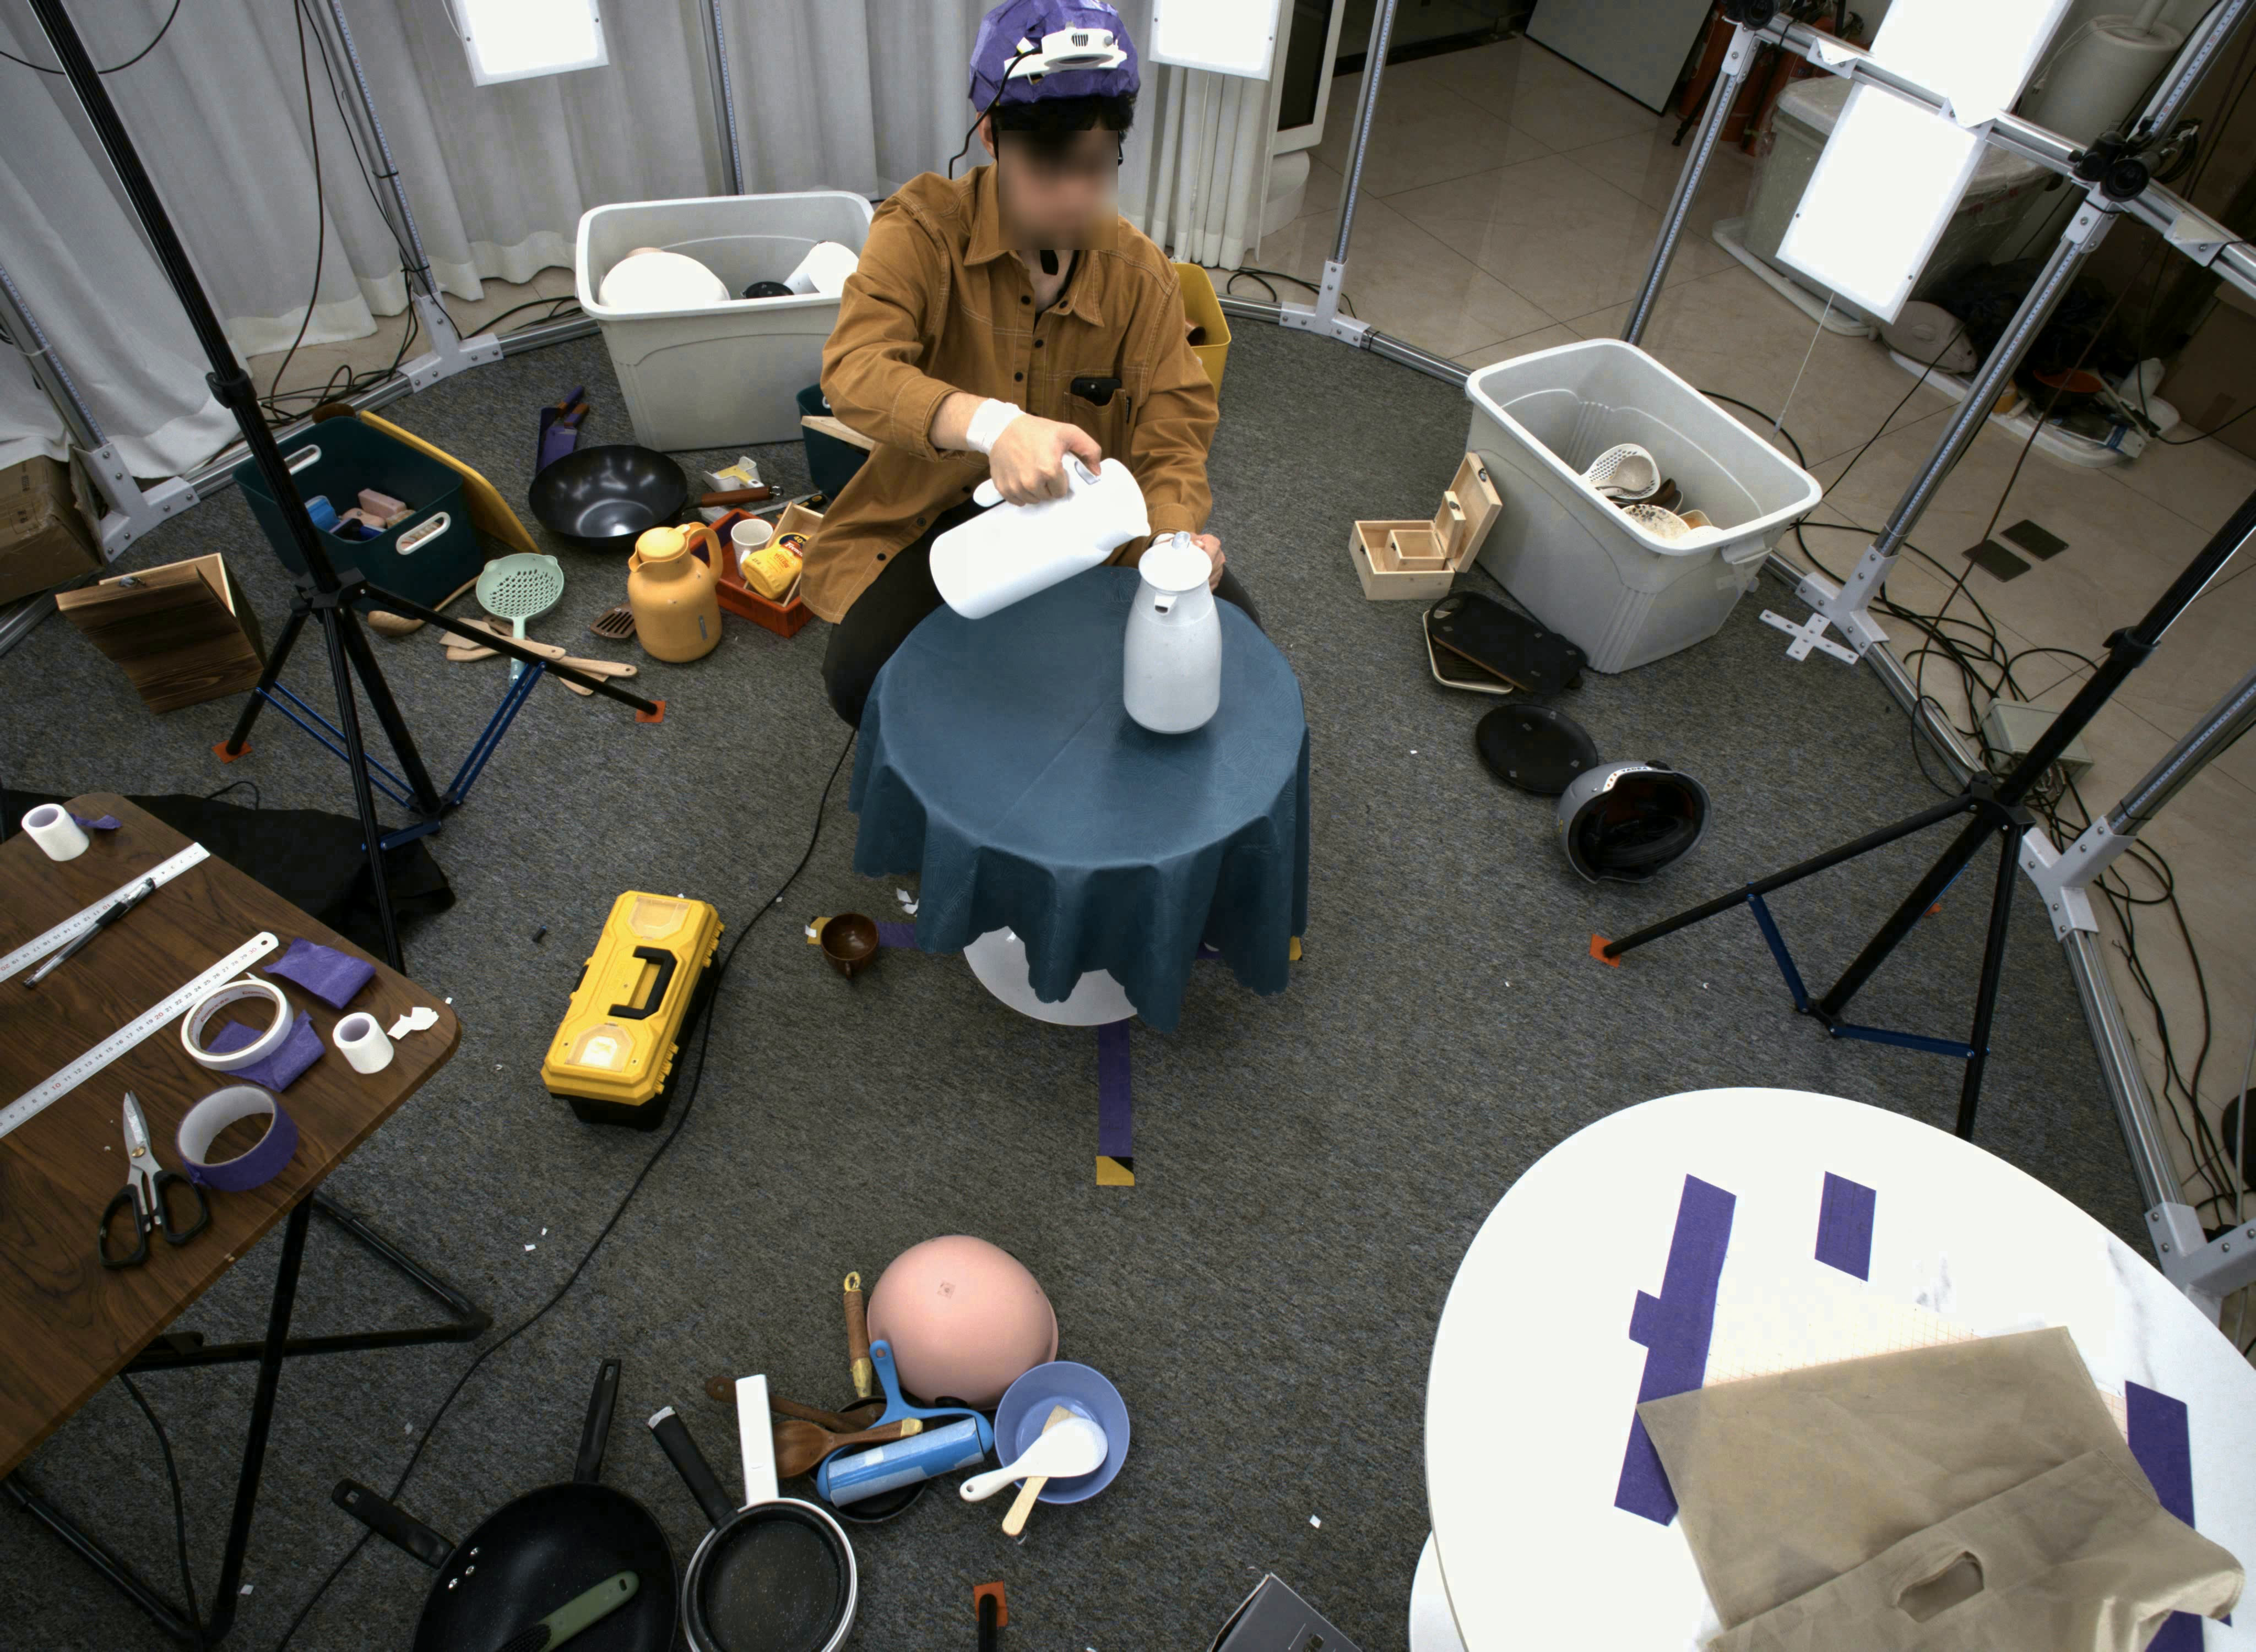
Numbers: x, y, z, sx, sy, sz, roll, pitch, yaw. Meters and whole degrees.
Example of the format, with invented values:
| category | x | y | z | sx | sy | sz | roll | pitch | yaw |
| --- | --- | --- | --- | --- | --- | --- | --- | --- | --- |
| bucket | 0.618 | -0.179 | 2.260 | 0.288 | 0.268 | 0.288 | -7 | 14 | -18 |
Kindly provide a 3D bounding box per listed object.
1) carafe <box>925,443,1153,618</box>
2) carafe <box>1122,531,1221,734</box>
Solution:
| category | x | y | z | sx | sy | sz | roll | pitch | yaw |
| --- | --- | --- | --- | --- | --- | --- | --- | --- | --- |
| carafe | -0.125 | -0.359 | 1.566 | 0.268 | 0.169 | 0.126 | -17 | 55 | 33 |
| carafe | 0.062 | -0.266 | 1.688 | 0.133 | 0.242 | 0.171 | 12 | 51 | 10 |
